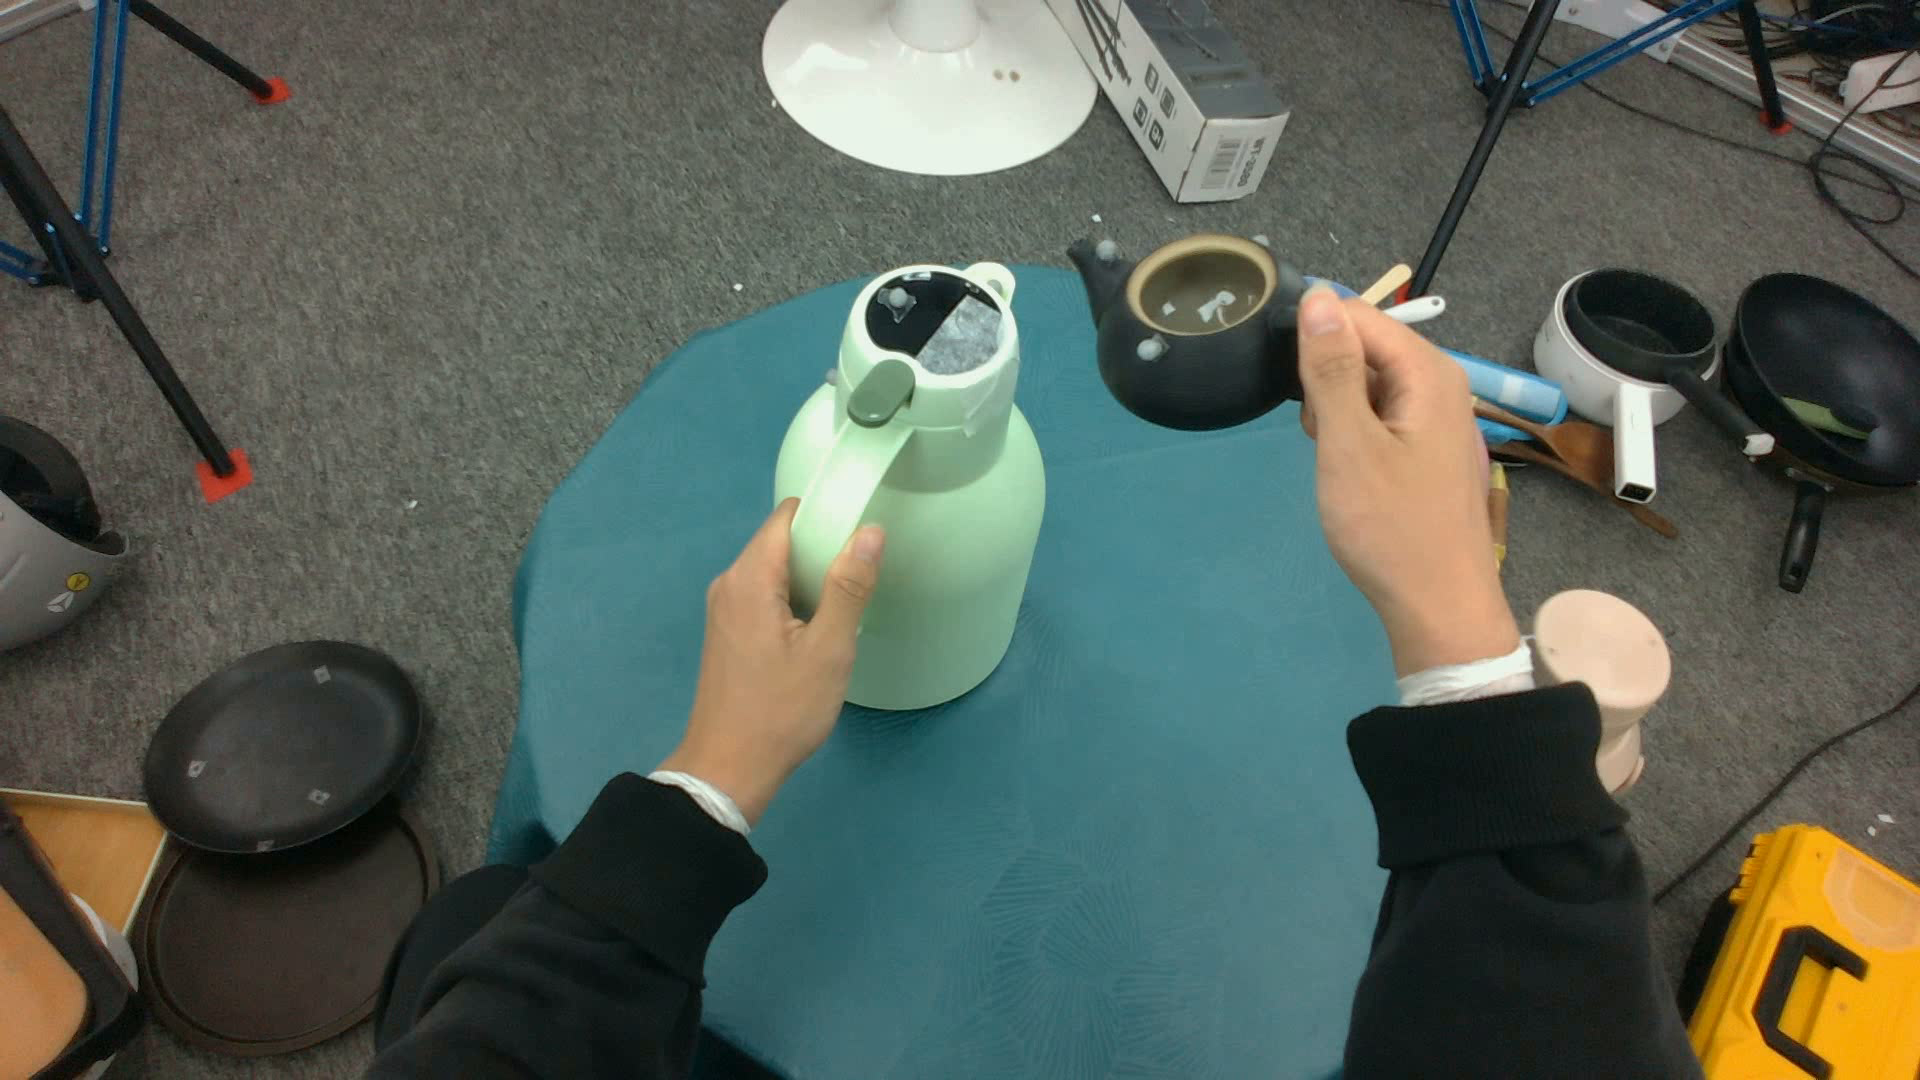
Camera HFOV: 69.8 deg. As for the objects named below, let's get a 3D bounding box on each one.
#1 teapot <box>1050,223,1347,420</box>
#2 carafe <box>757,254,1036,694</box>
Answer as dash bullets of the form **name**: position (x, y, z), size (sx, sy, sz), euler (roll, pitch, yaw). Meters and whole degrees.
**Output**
- **teapot**: position (0.095, -0.089, 0.558), size (0.133, 0.053, 0.091), euler (23, 64, 34)
- **carafe**: position (-0.037, -0.022, 0.710), size (0.144, 0.255, 0.187), euler (28, 60, 8)
